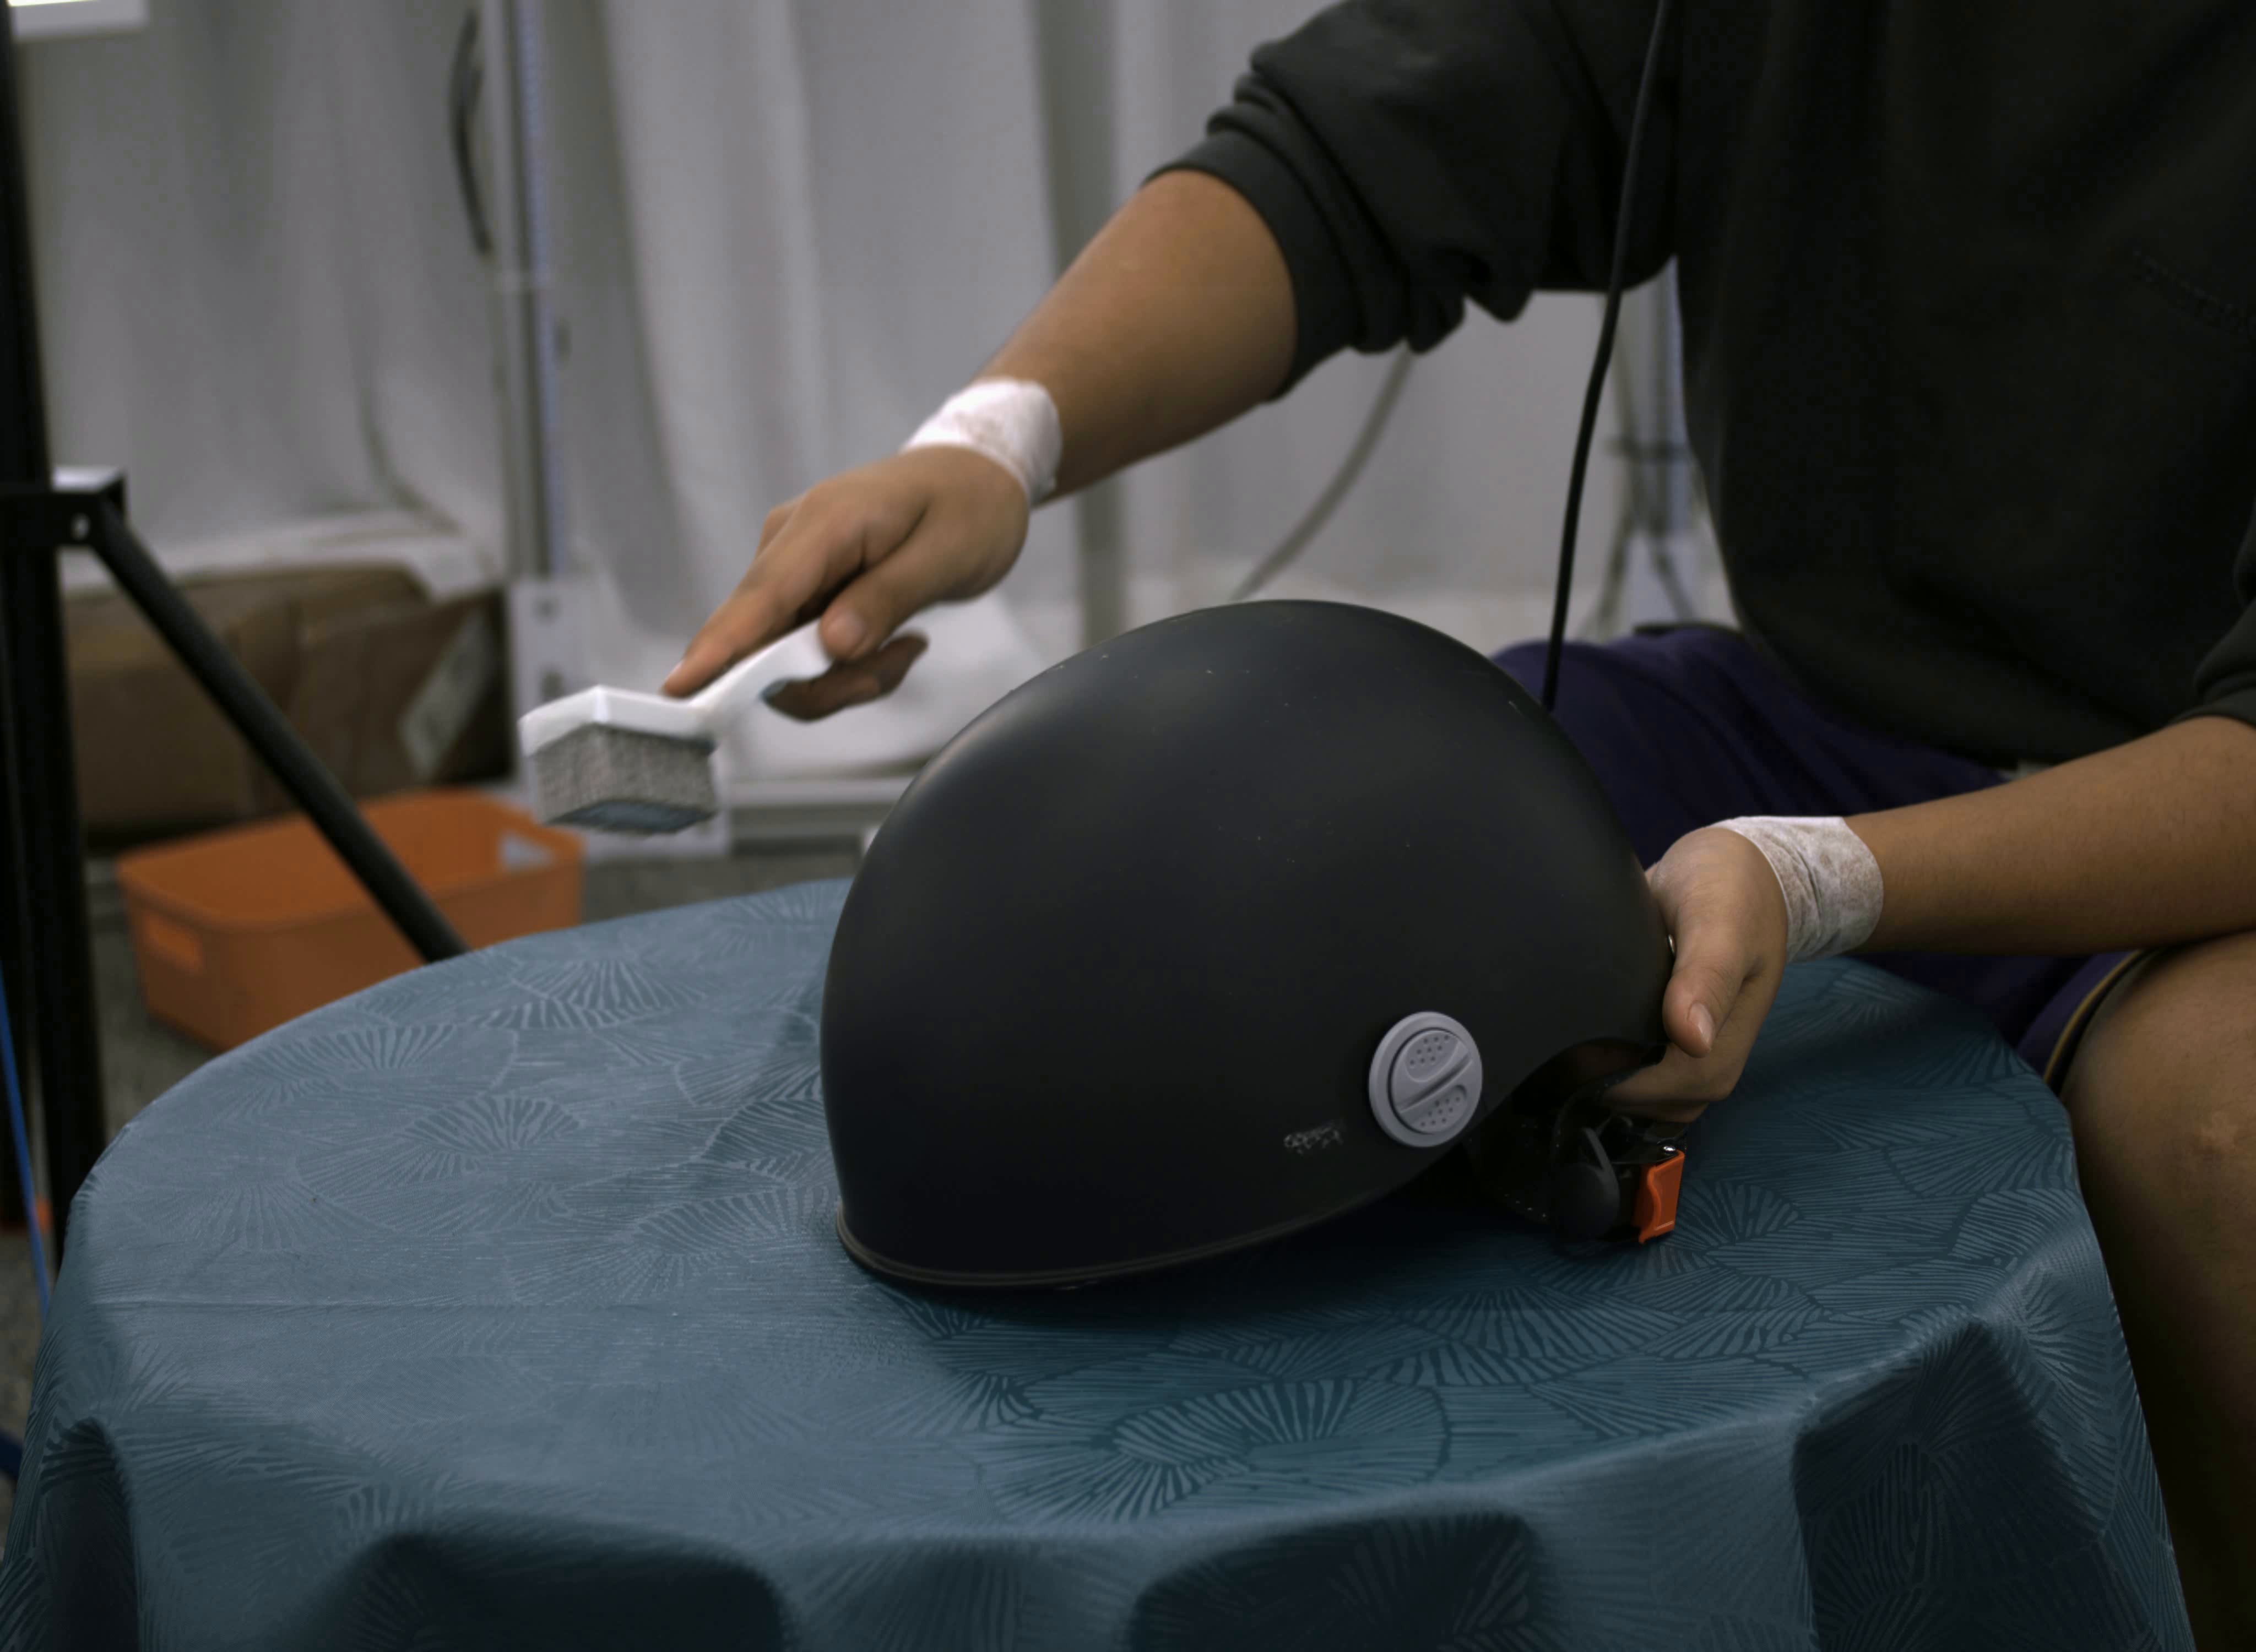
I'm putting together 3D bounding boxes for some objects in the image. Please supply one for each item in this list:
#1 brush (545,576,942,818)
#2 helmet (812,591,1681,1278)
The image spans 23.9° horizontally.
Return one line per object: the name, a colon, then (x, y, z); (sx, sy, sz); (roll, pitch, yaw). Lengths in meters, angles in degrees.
brush: (-0.112, -0.040, 1.702); (0.035, 0.050, 0.239); (-22, 1, 27)
helmet: (0.026, 0.021, 1.549); (0.267, 0.167, 0.235); (-20, 14, -38)
